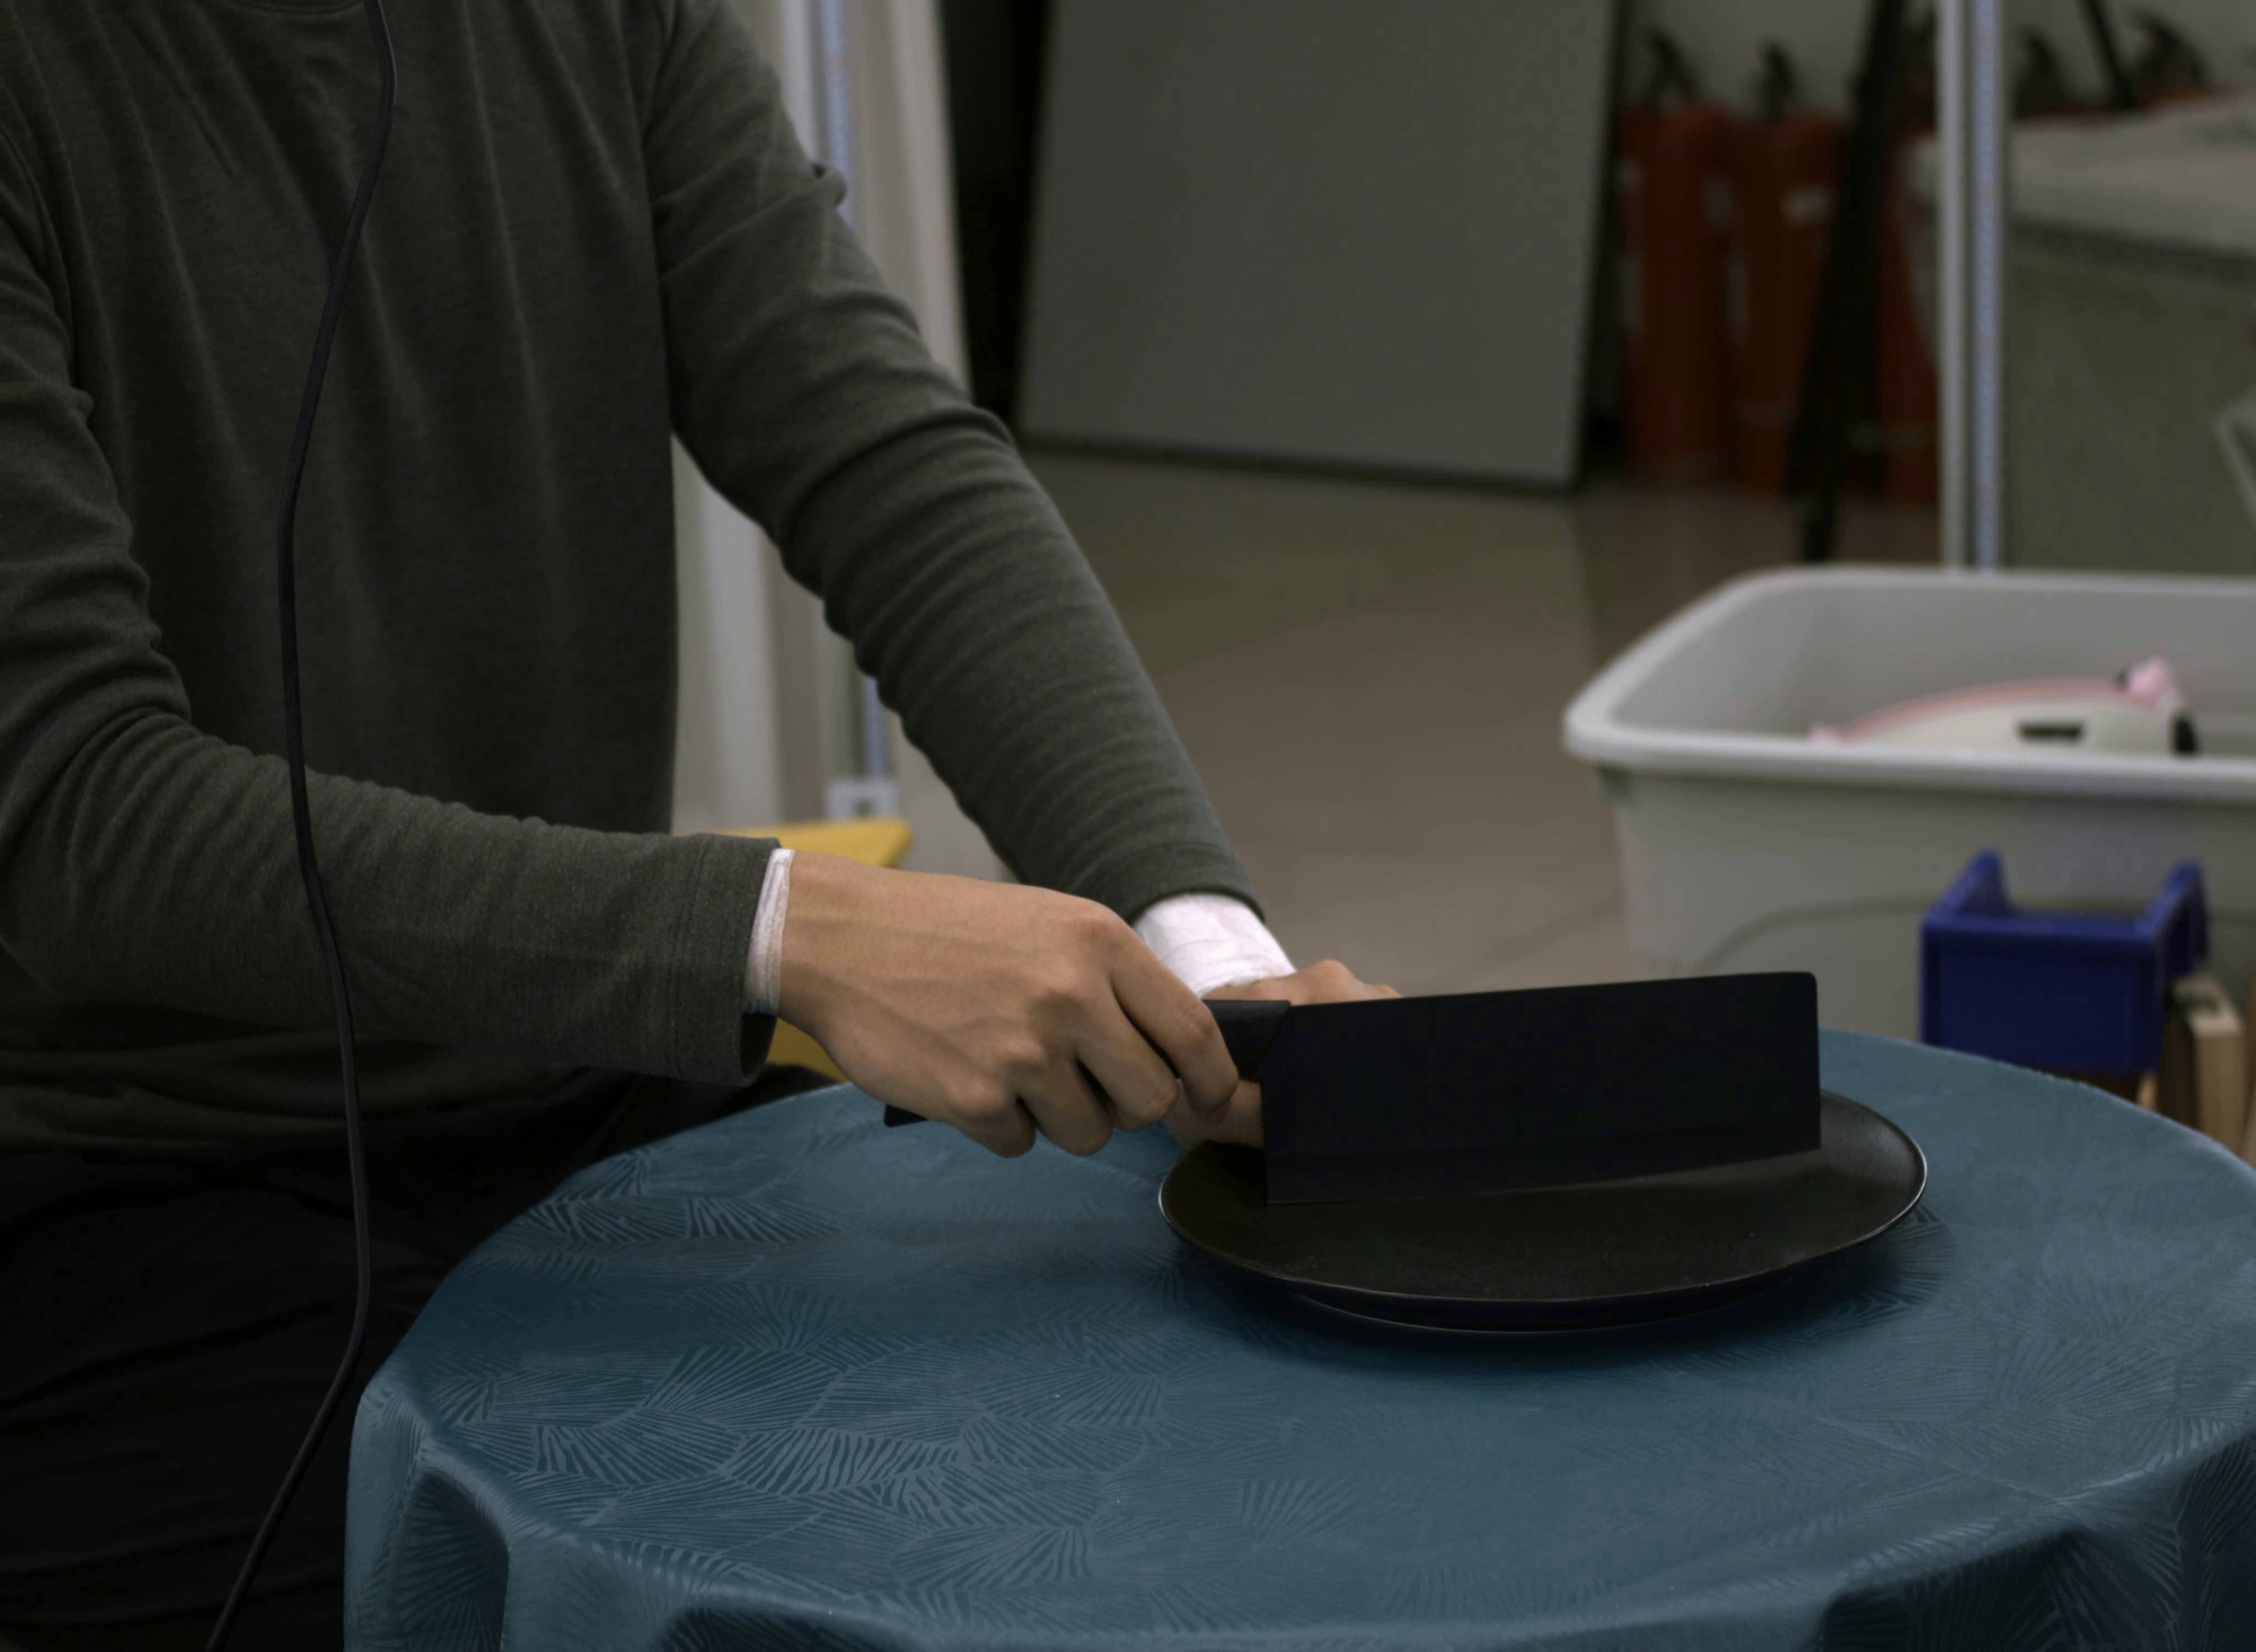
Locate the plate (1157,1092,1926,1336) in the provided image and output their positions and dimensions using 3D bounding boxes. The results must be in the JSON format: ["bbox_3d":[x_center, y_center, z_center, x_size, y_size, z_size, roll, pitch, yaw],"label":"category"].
[{"bbox_3d":[0.130,0.120,1.693,0.241,0.024,0.245,-4,13,0],"label":"plate"}]

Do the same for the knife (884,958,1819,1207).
[{"bbox_3d":[0.072,0.082,1.711,0.298,0.082,0.021,0,10,0],"label":"knife"}]
